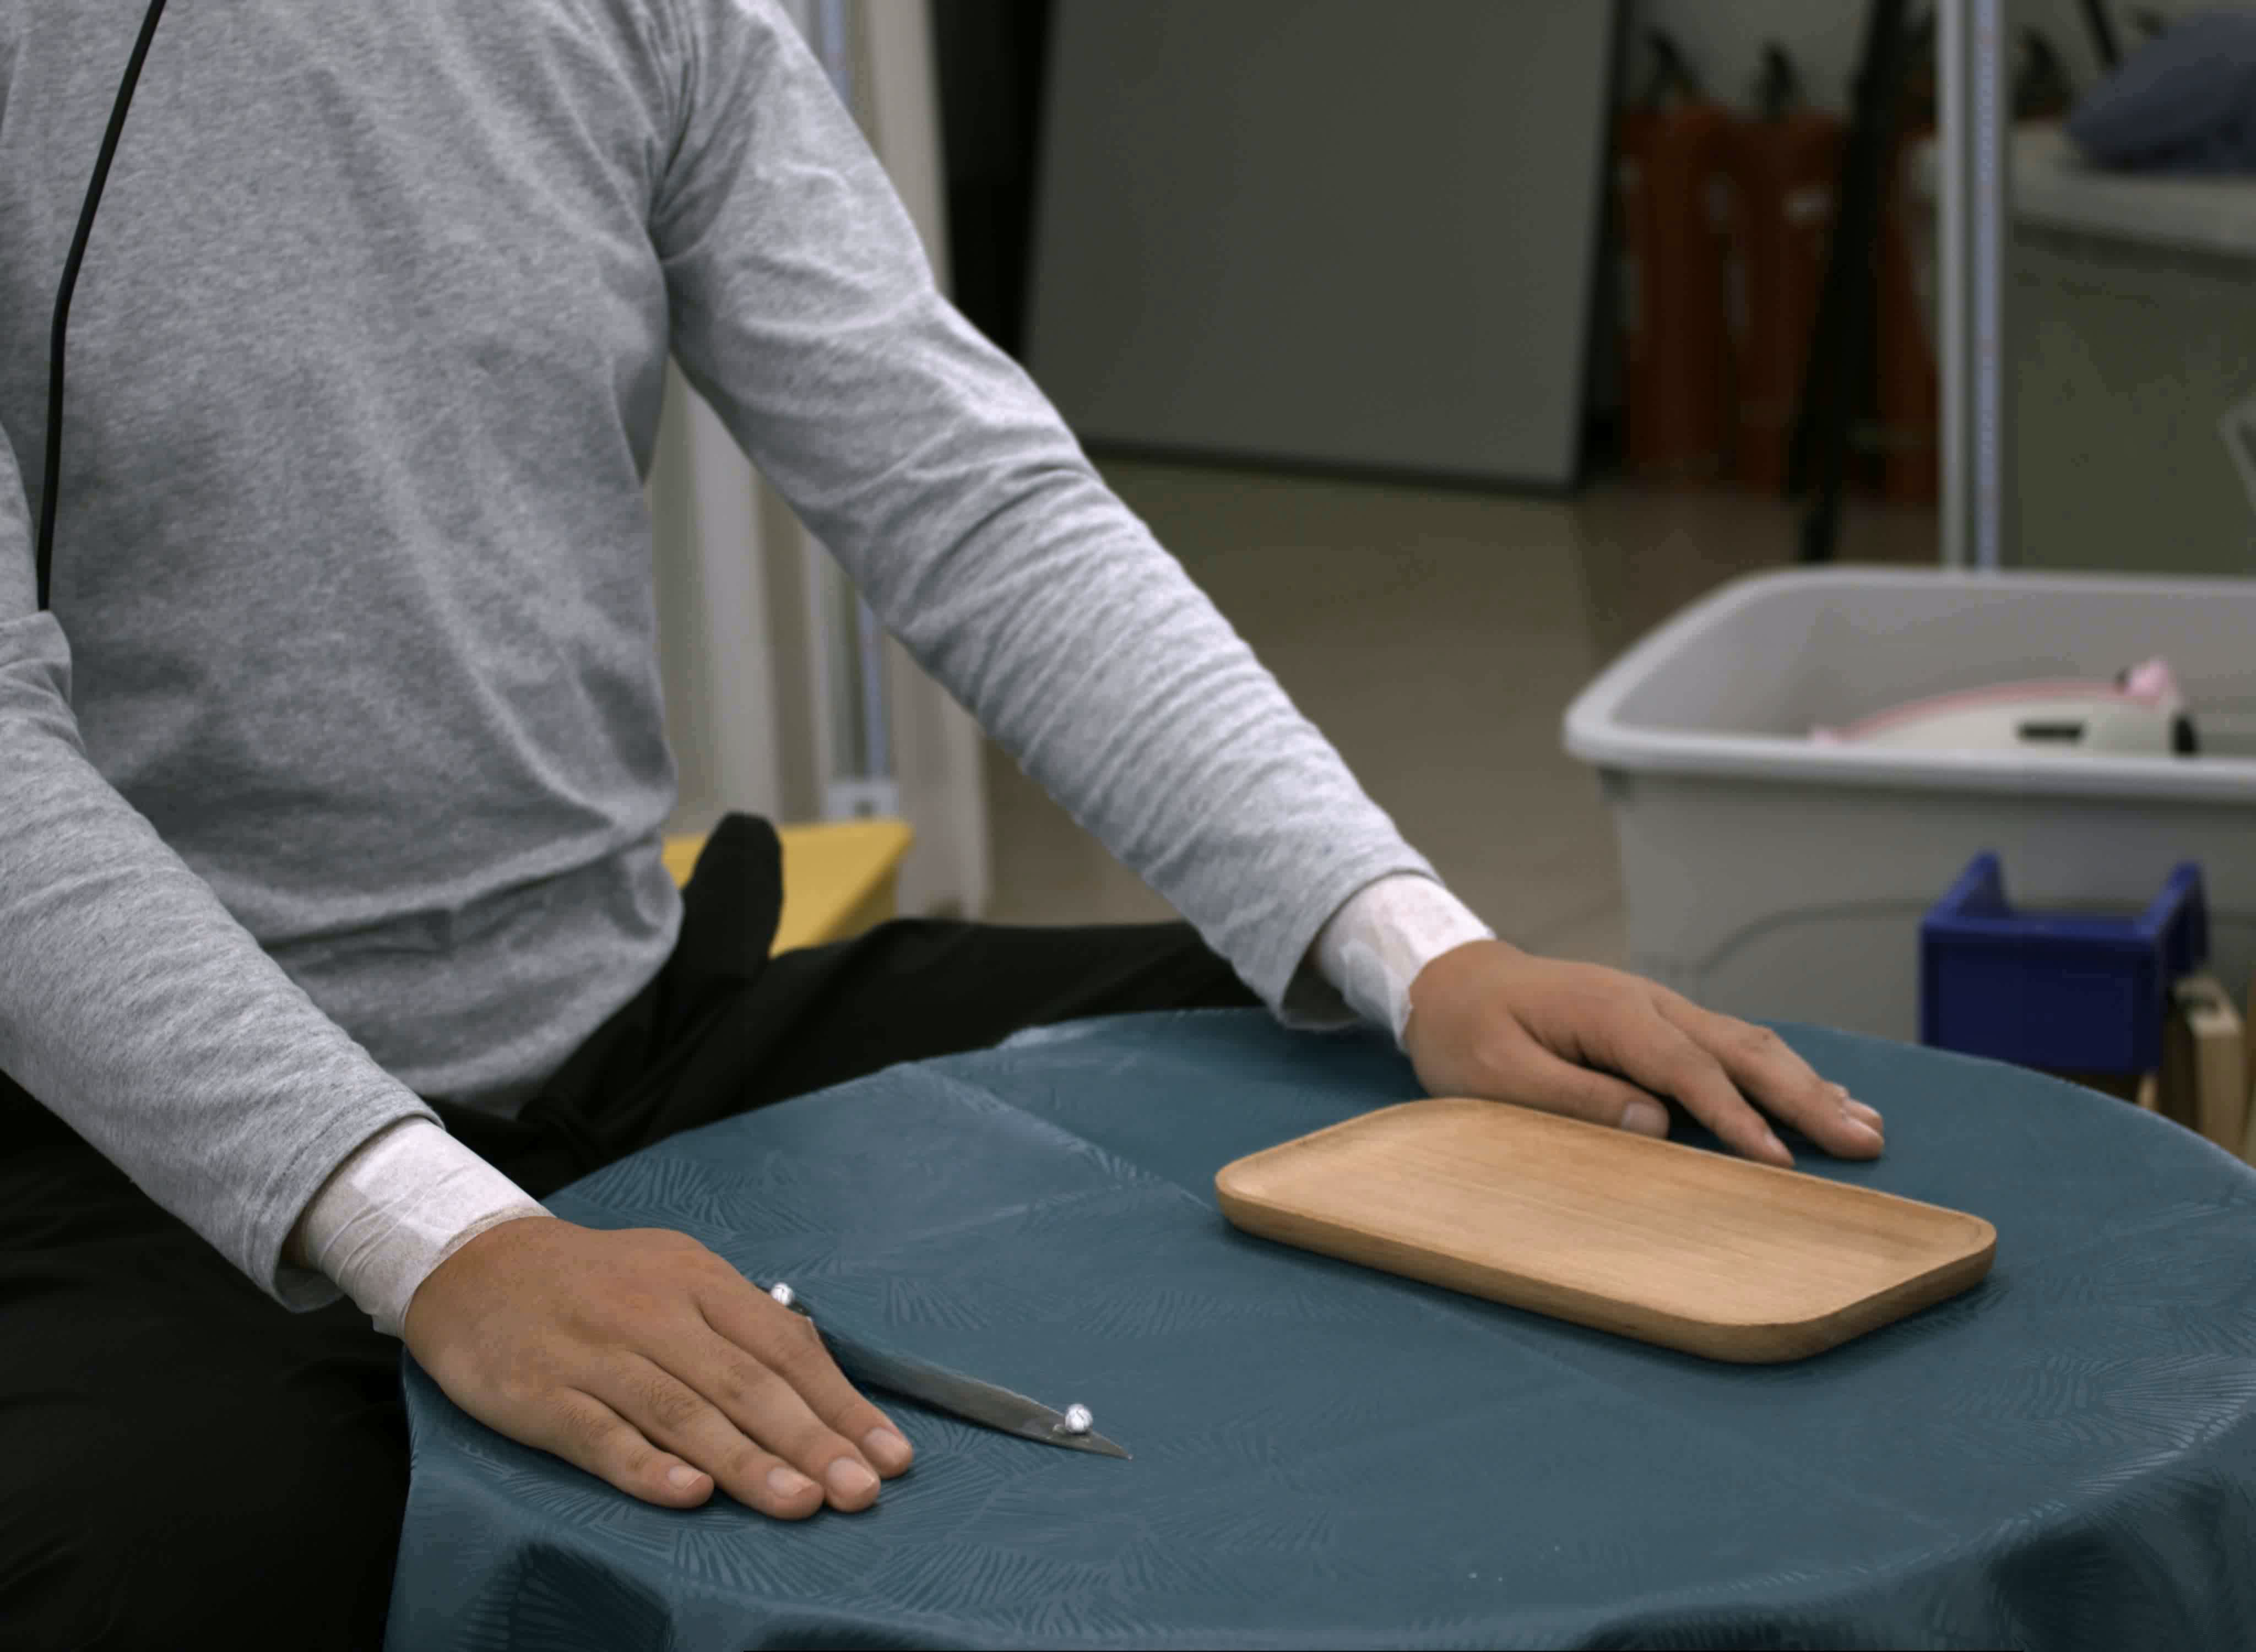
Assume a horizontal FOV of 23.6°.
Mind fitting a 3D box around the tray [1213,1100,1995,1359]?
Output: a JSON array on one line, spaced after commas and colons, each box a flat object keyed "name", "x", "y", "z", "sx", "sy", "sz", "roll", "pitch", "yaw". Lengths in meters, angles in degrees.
[{"name": "tray", "x": 0.146, "y": 0.124, "z": 1.685, "sx": 0.128, "sy": 0.023, "sz": 0.253, "roll": -12, "pitch": 14, "yaw": -40}]

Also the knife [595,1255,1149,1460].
[{"name": "knife", "x": -0.081, "y": 0.161, "z": 1.614, "sx": 0.240, "sy": 0.016, "sz": 0.024, "roll": 13, "pitch": 21, "yaw": 43}]
